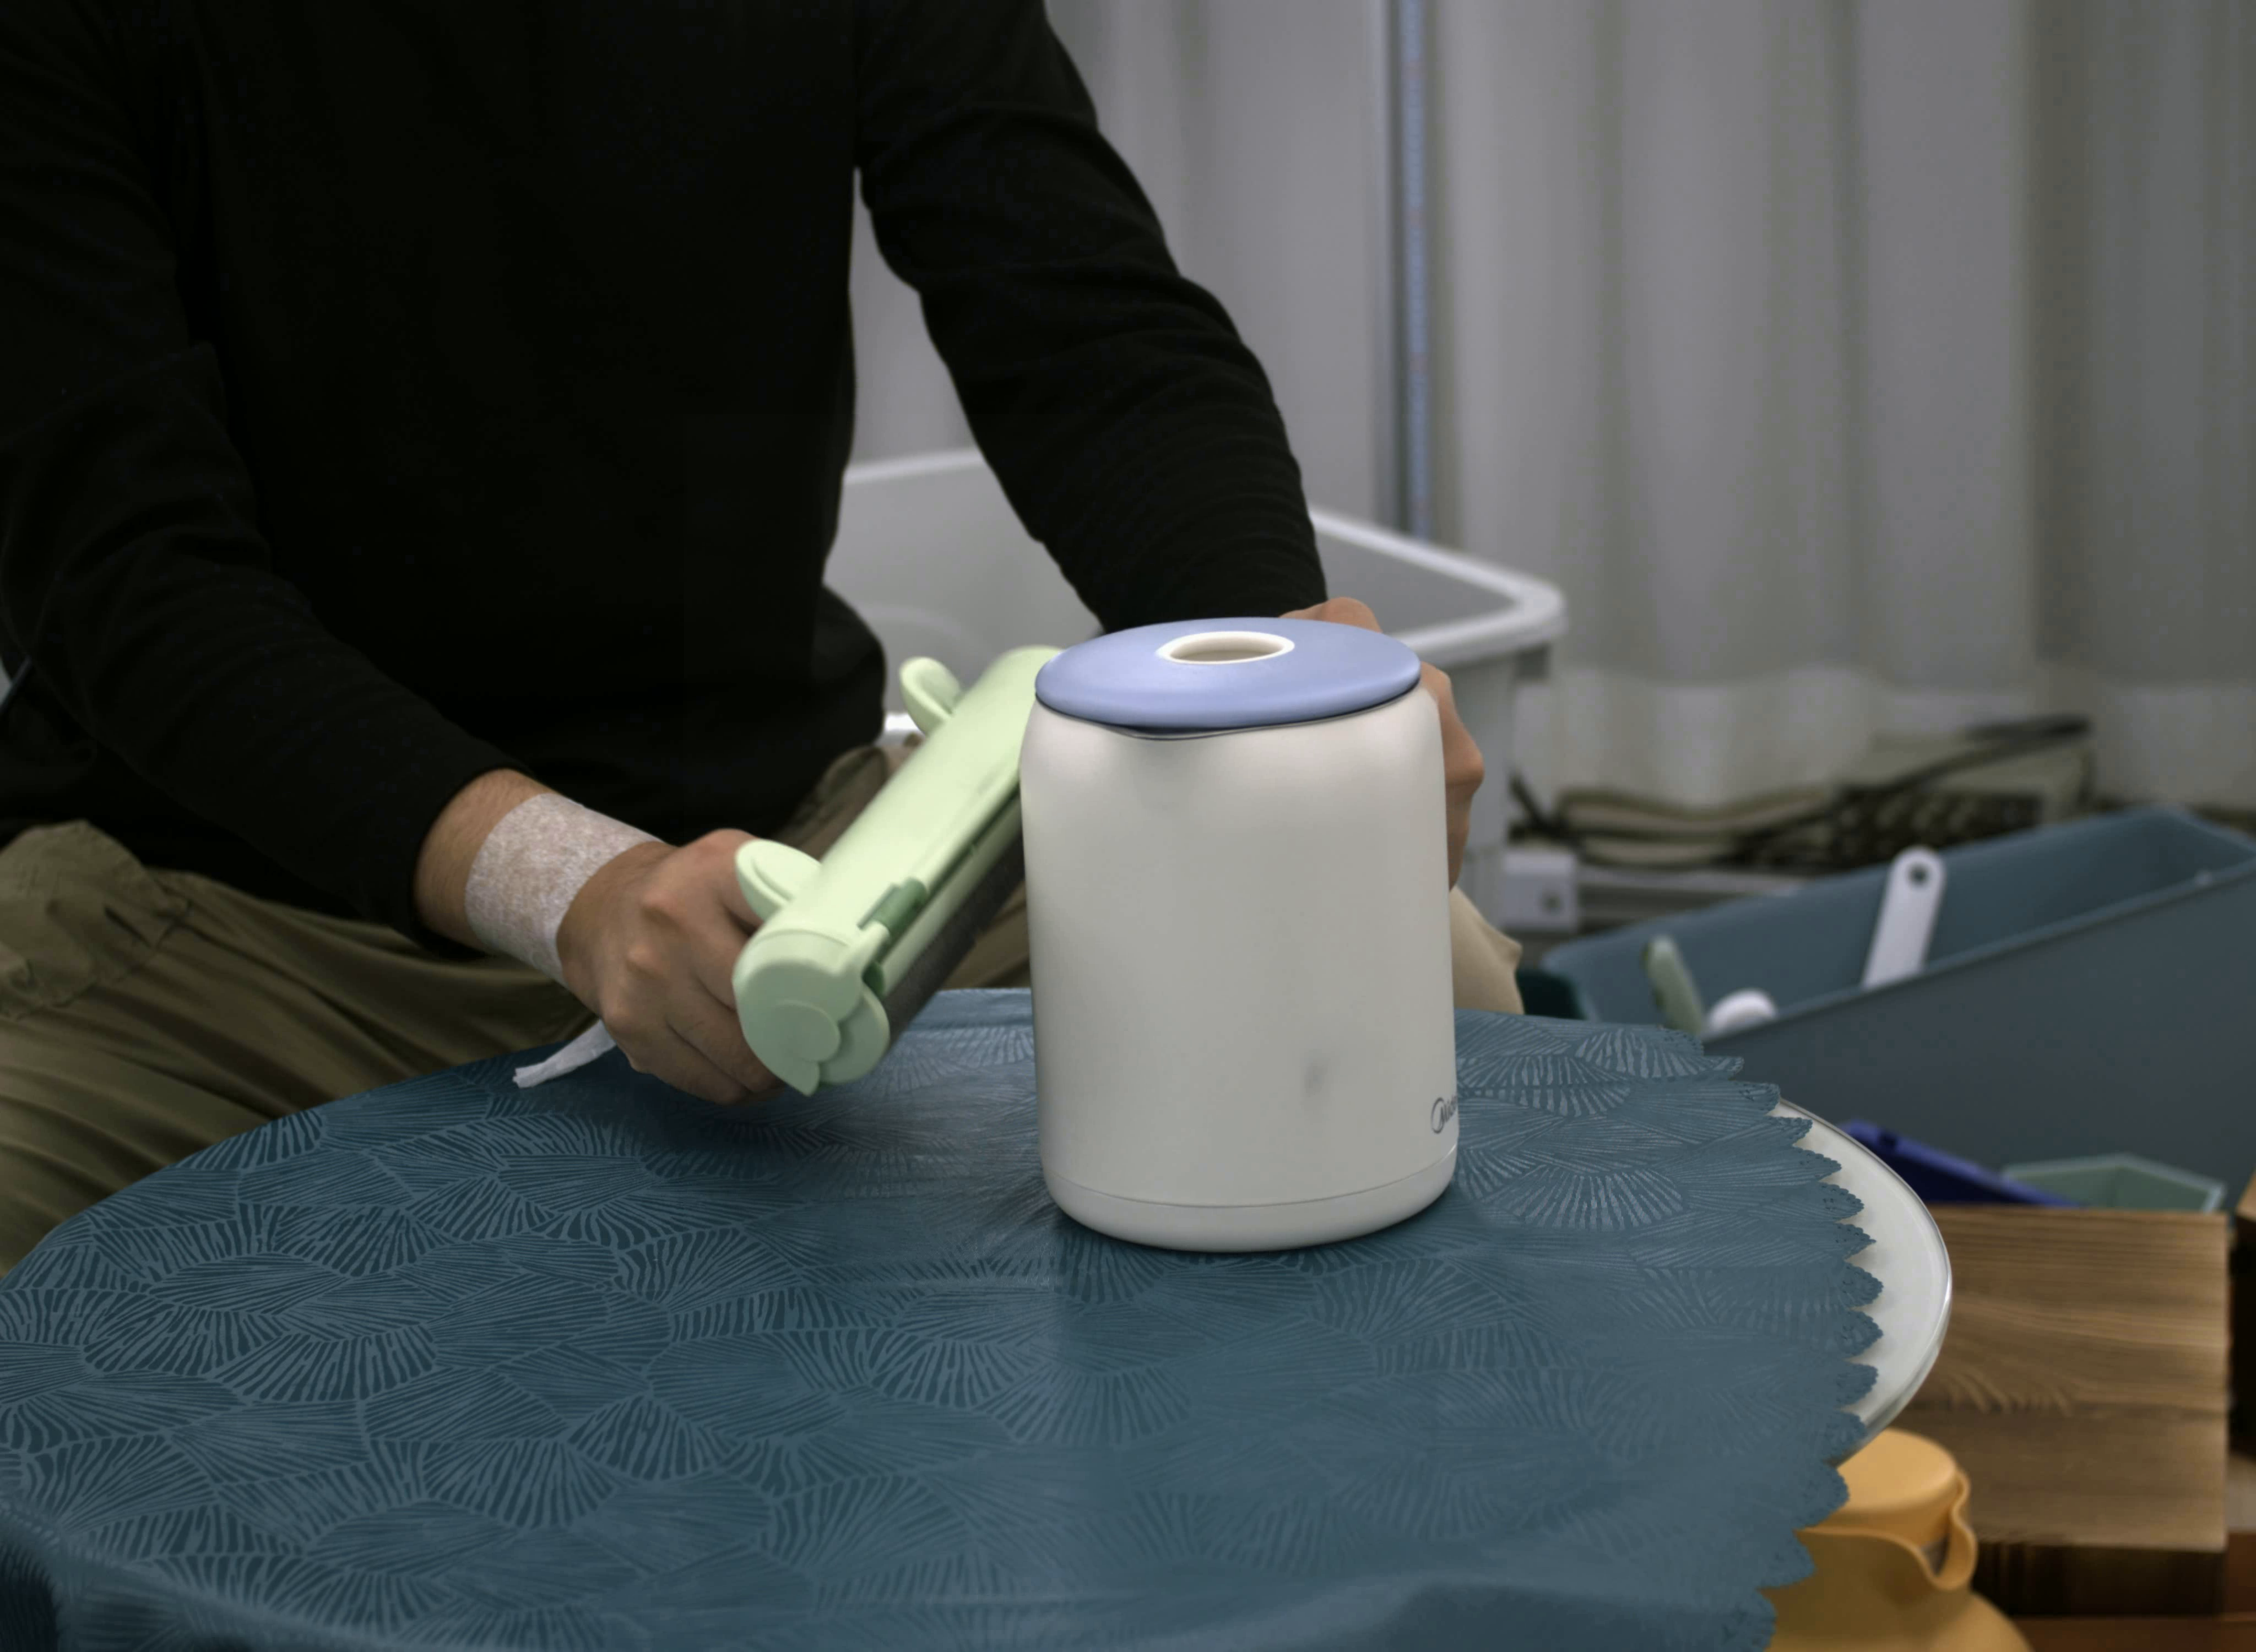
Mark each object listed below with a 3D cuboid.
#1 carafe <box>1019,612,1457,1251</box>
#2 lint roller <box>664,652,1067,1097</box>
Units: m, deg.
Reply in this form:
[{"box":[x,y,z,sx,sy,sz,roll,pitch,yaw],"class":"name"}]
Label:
[{"box":[0.041,0.026,1.709,0.132,0.182,0.191,2,13,17],"class":"carafe"},{"box":[-0.102,0.025,1.756,0.182,0.082,0.200,-26,15,37],"class":"lint roller"}]
